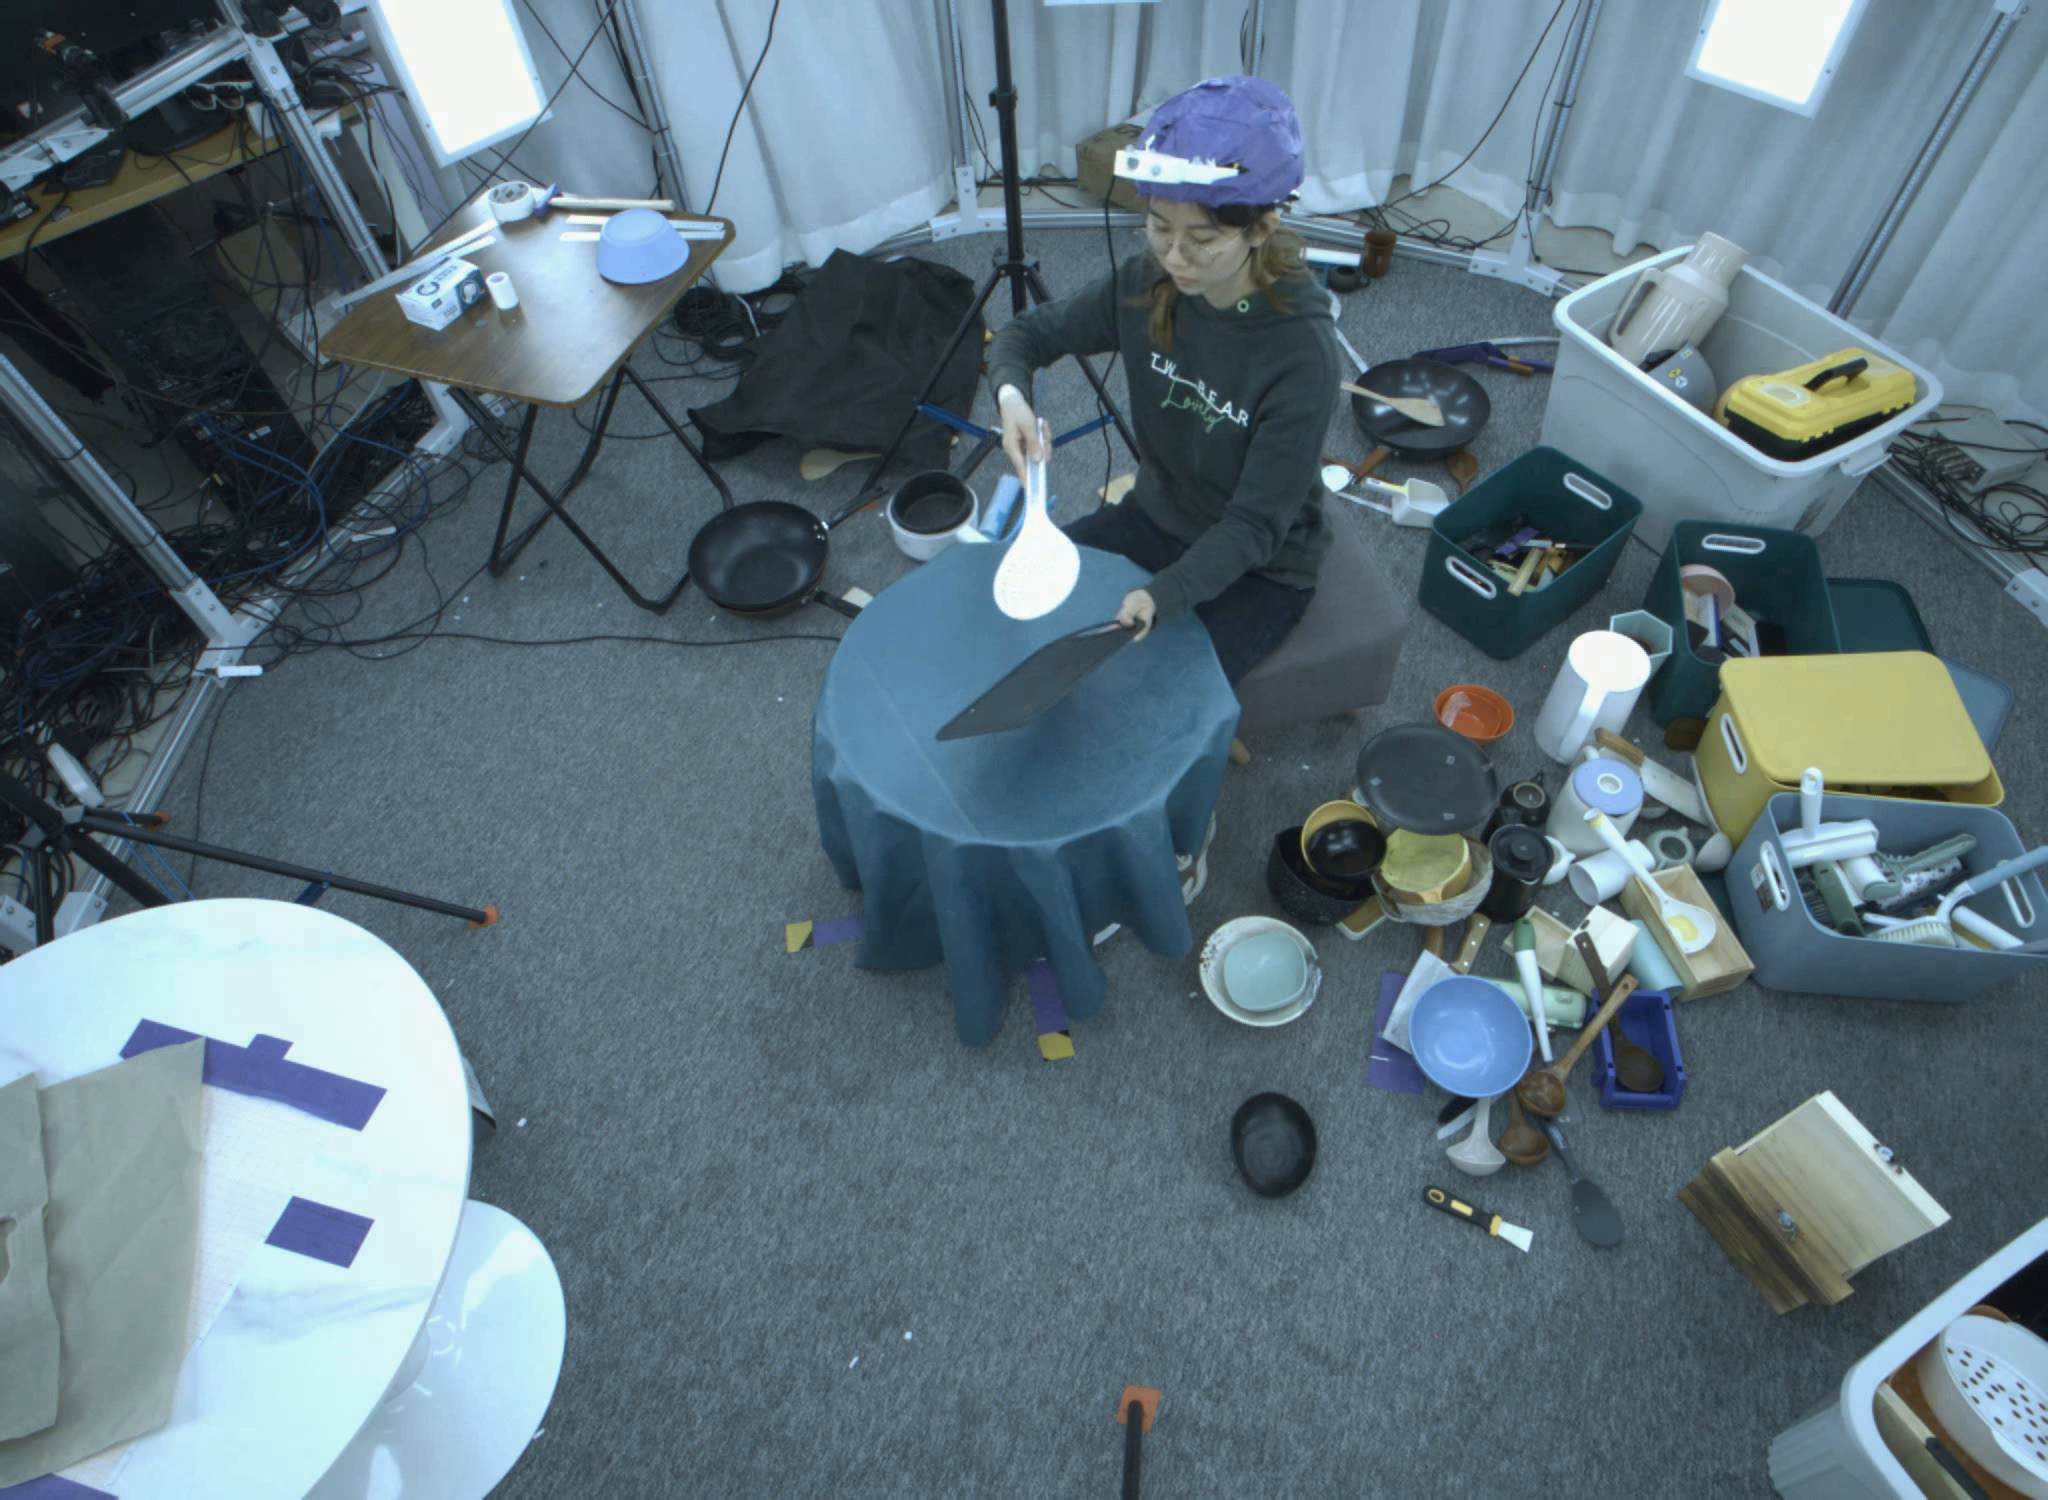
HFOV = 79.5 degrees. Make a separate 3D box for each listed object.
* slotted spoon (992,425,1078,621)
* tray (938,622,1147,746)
[{"bbox_3d":[0.017,-0.336,1.778,0.134,0.047,0.347,-12,67,23],"label":"slotted spoon"},{"bbox_3d":[0.032,-0.097,1.692,0.207,0.010,0.328,-8,25,46],"label":"tray"}]
